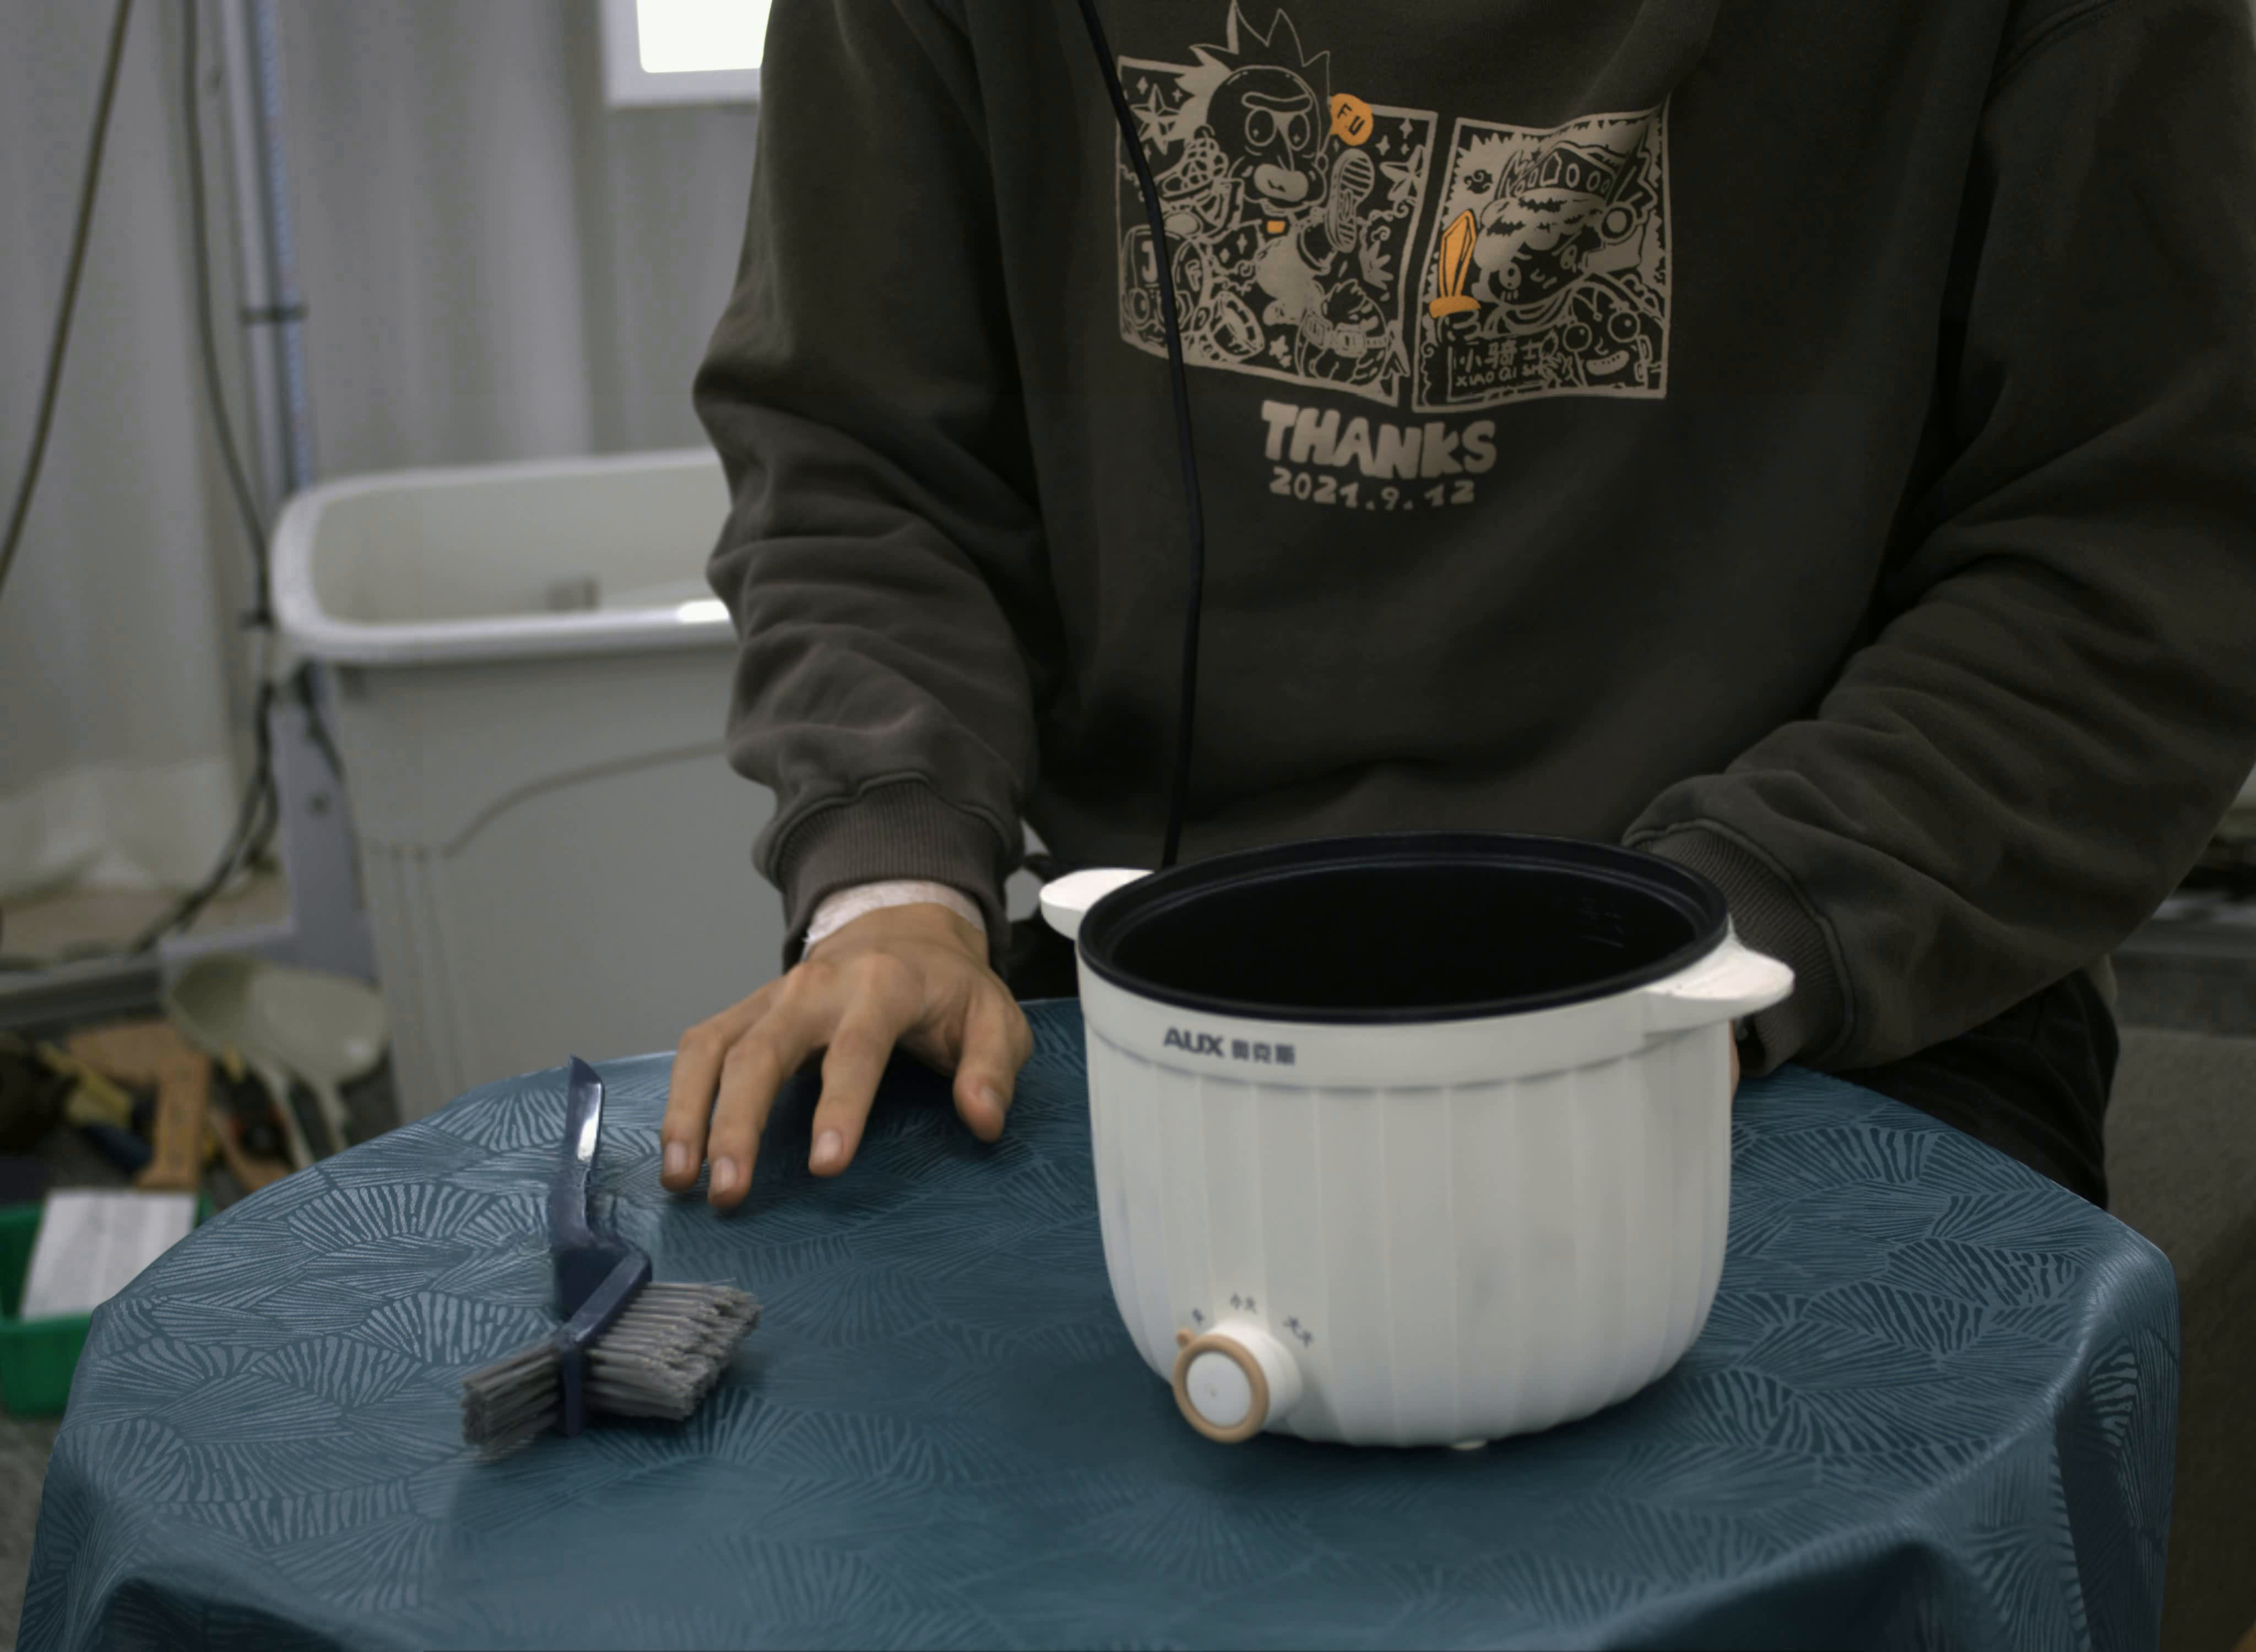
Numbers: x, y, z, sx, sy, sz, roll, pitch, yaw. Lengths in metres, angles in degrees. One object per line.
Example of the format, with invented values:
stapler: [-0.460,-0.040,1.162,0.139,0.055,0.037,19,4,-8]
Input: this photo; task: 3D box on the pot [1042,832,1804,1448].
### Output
pot: [0.078,0.091,1.530,0.241,0.142,0.190,6,14,34]

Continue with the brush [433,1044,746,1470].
brush: [-0.172,0.126,1.654,0.095,0.033,0.275,-6,17,-10]
